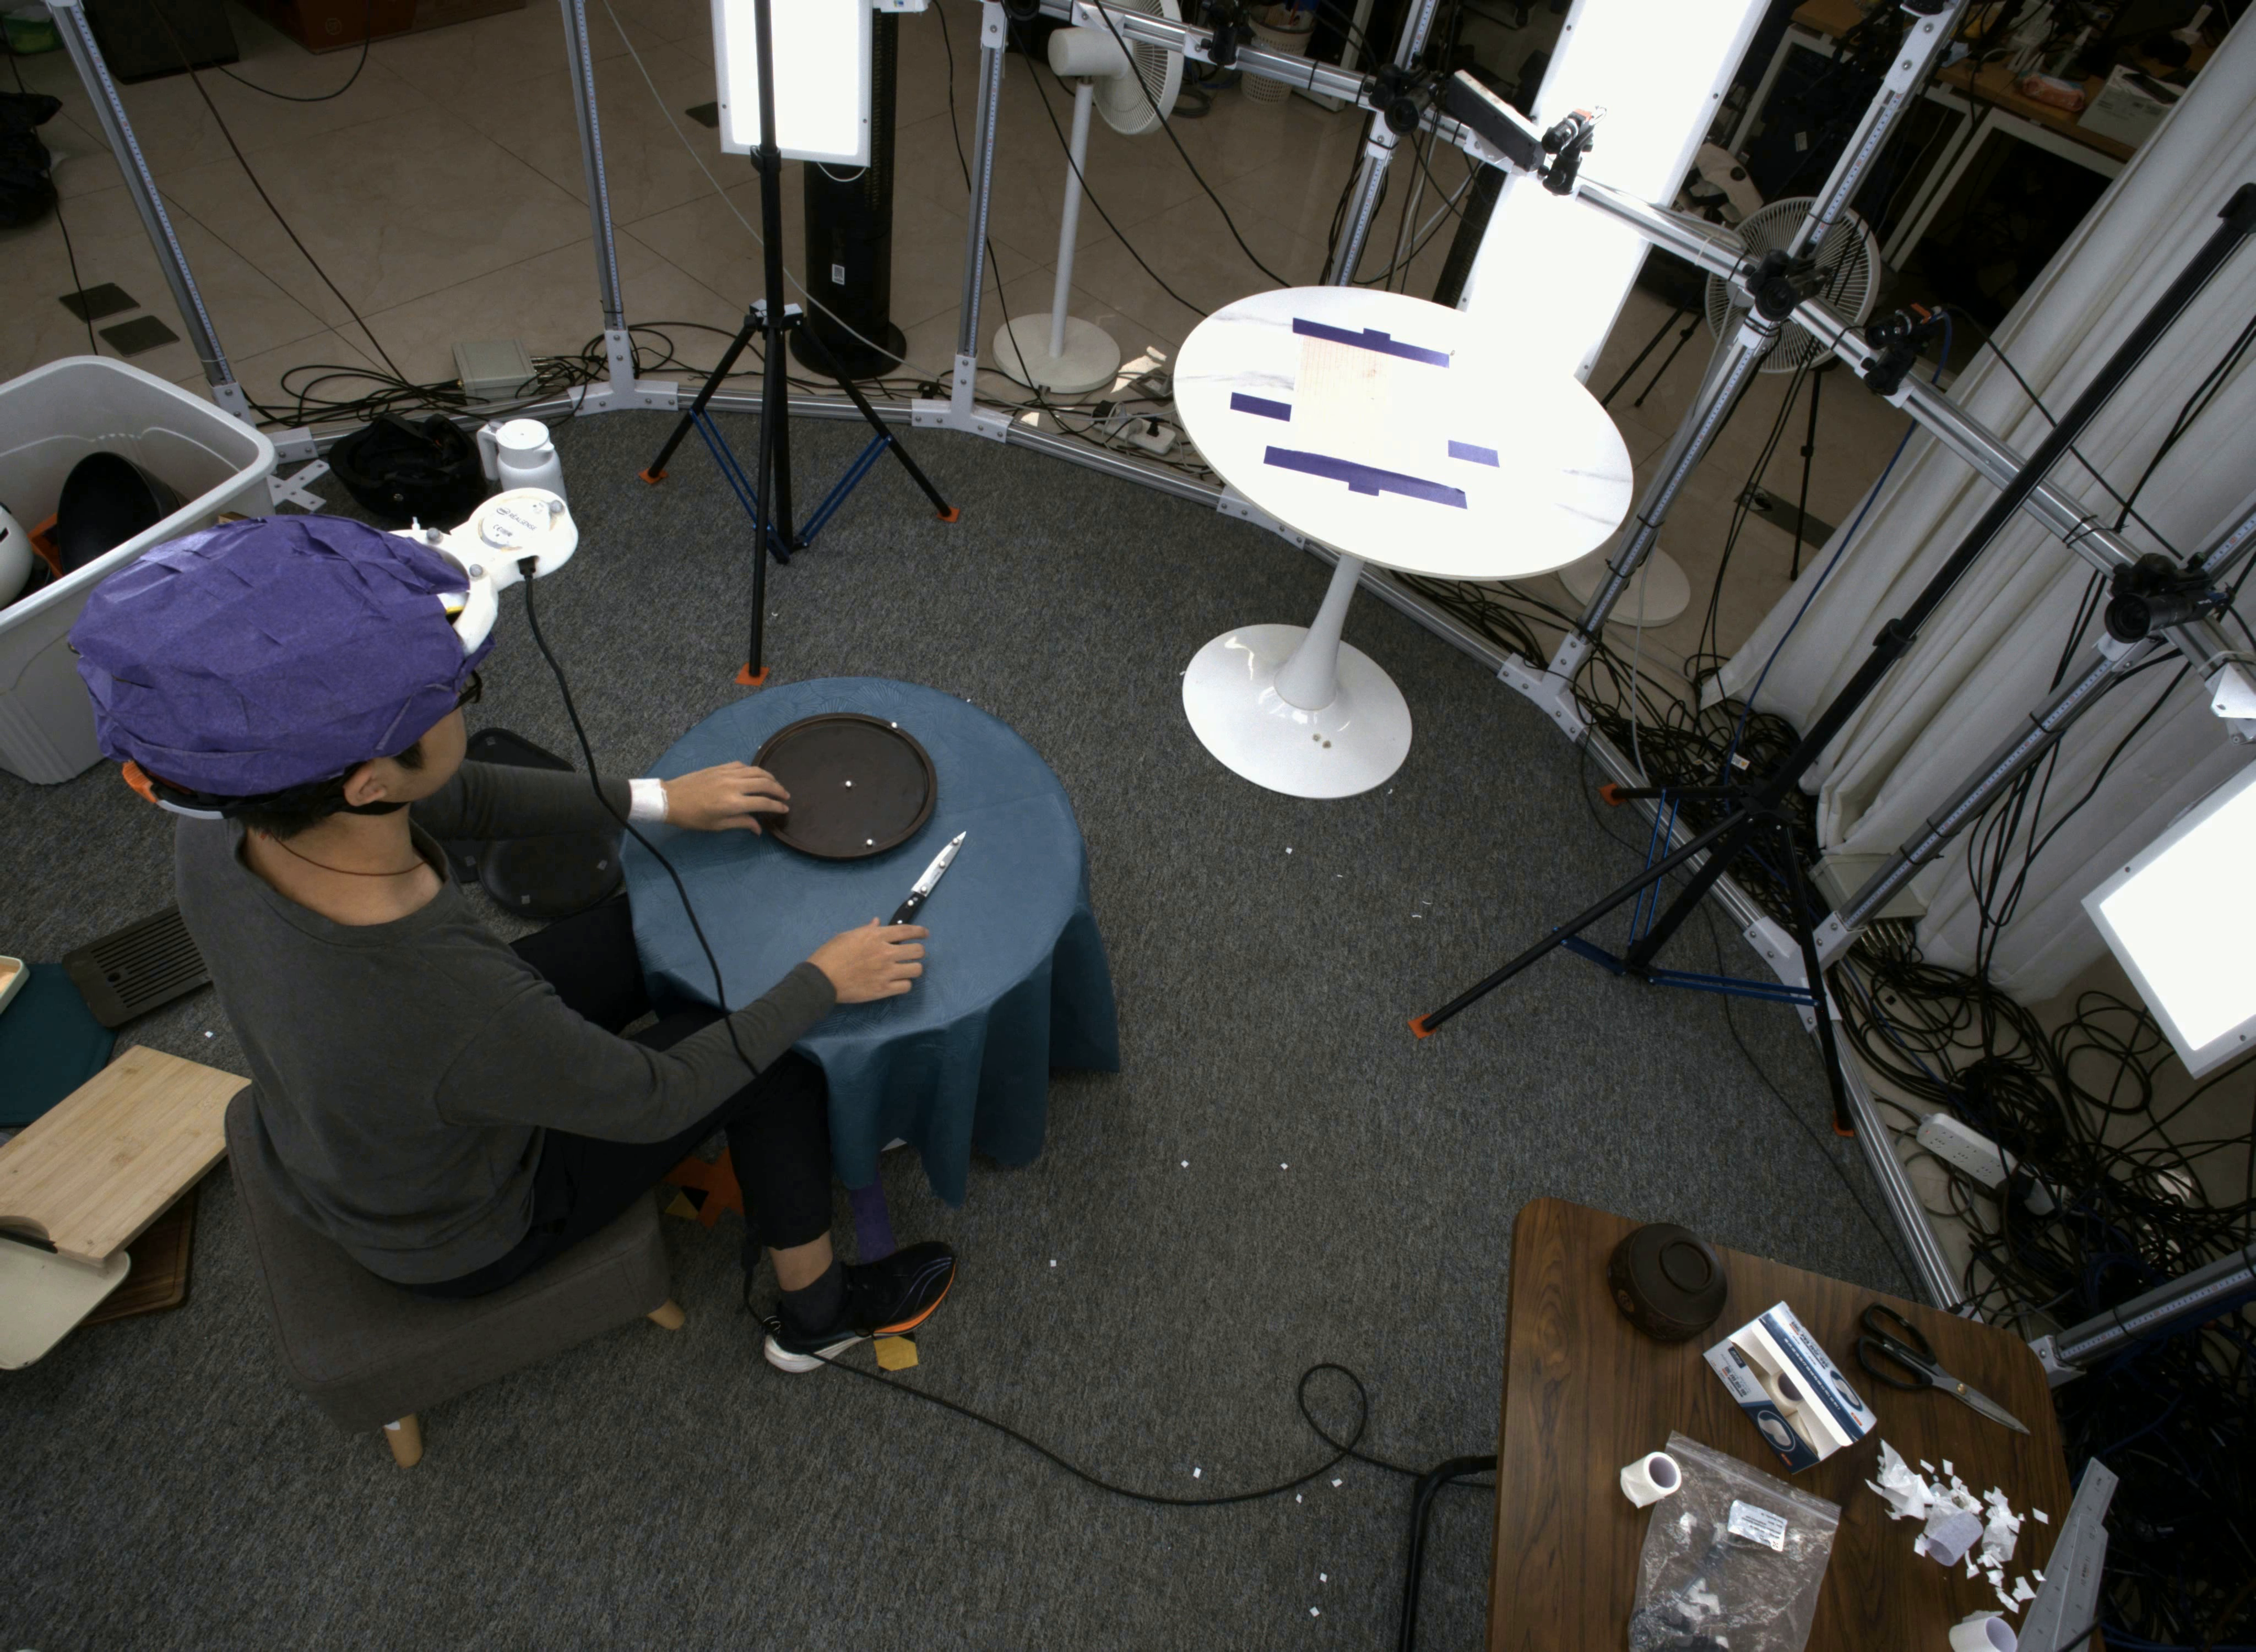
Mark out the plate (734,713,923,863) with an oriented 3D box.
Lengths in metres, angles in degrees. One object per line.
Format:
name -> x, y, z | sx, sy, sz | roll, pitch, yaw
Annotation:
plate -> -0.406, -0.053, 1.765 | 0.254, 0.029, 0.250 | 8, 51, -9

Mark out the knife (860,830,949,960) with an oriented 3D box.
knife -> -0.286, 0.085, 1.701 | 0.024, 0.016, 0.236 | 24, 49, 5
